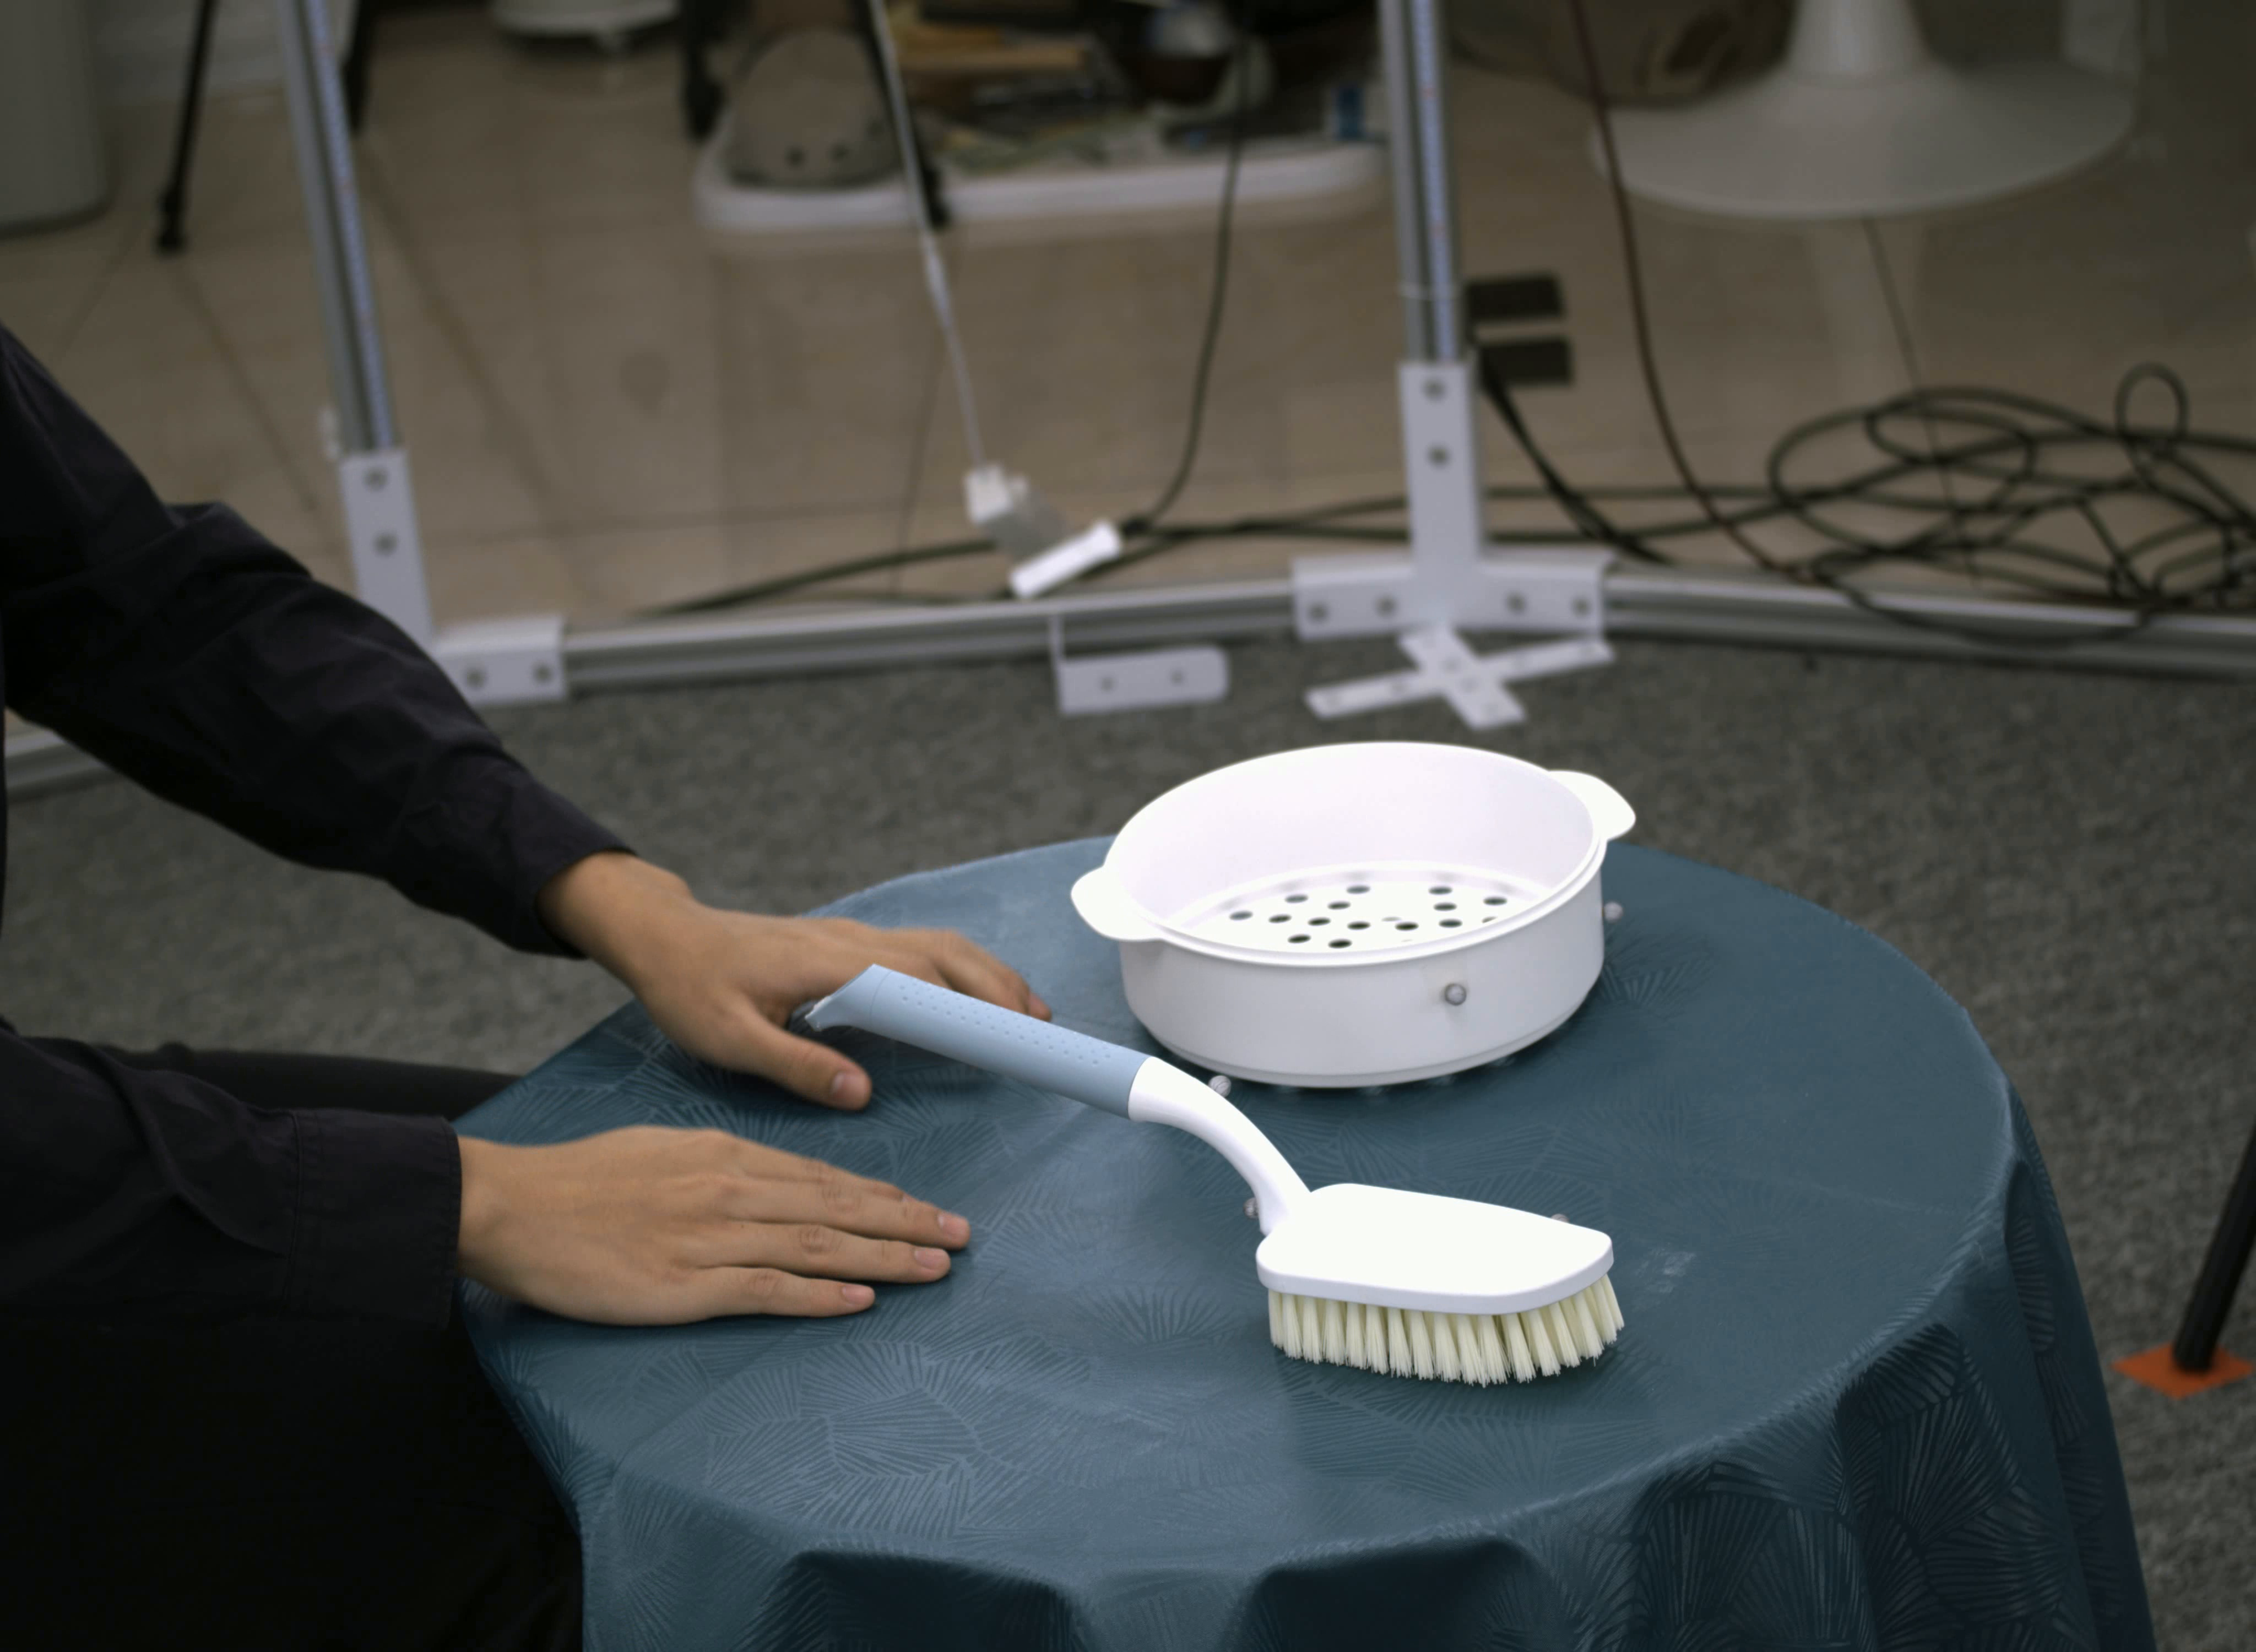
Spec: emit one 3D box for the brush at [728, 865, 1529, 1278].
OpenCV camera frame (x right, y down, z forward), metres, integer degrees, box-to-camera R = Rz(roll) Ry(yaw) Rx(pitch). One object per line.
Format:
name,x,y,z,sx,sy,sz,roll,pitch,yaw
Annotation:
brush,-0.004,0.100,2.080,0.323,0.084,0.083,18,-4,20

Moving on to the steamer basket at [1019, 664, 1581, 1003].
steamer basket,0.073,0.003,2.287,0.230,0.070,0.199,-13,25,-13
